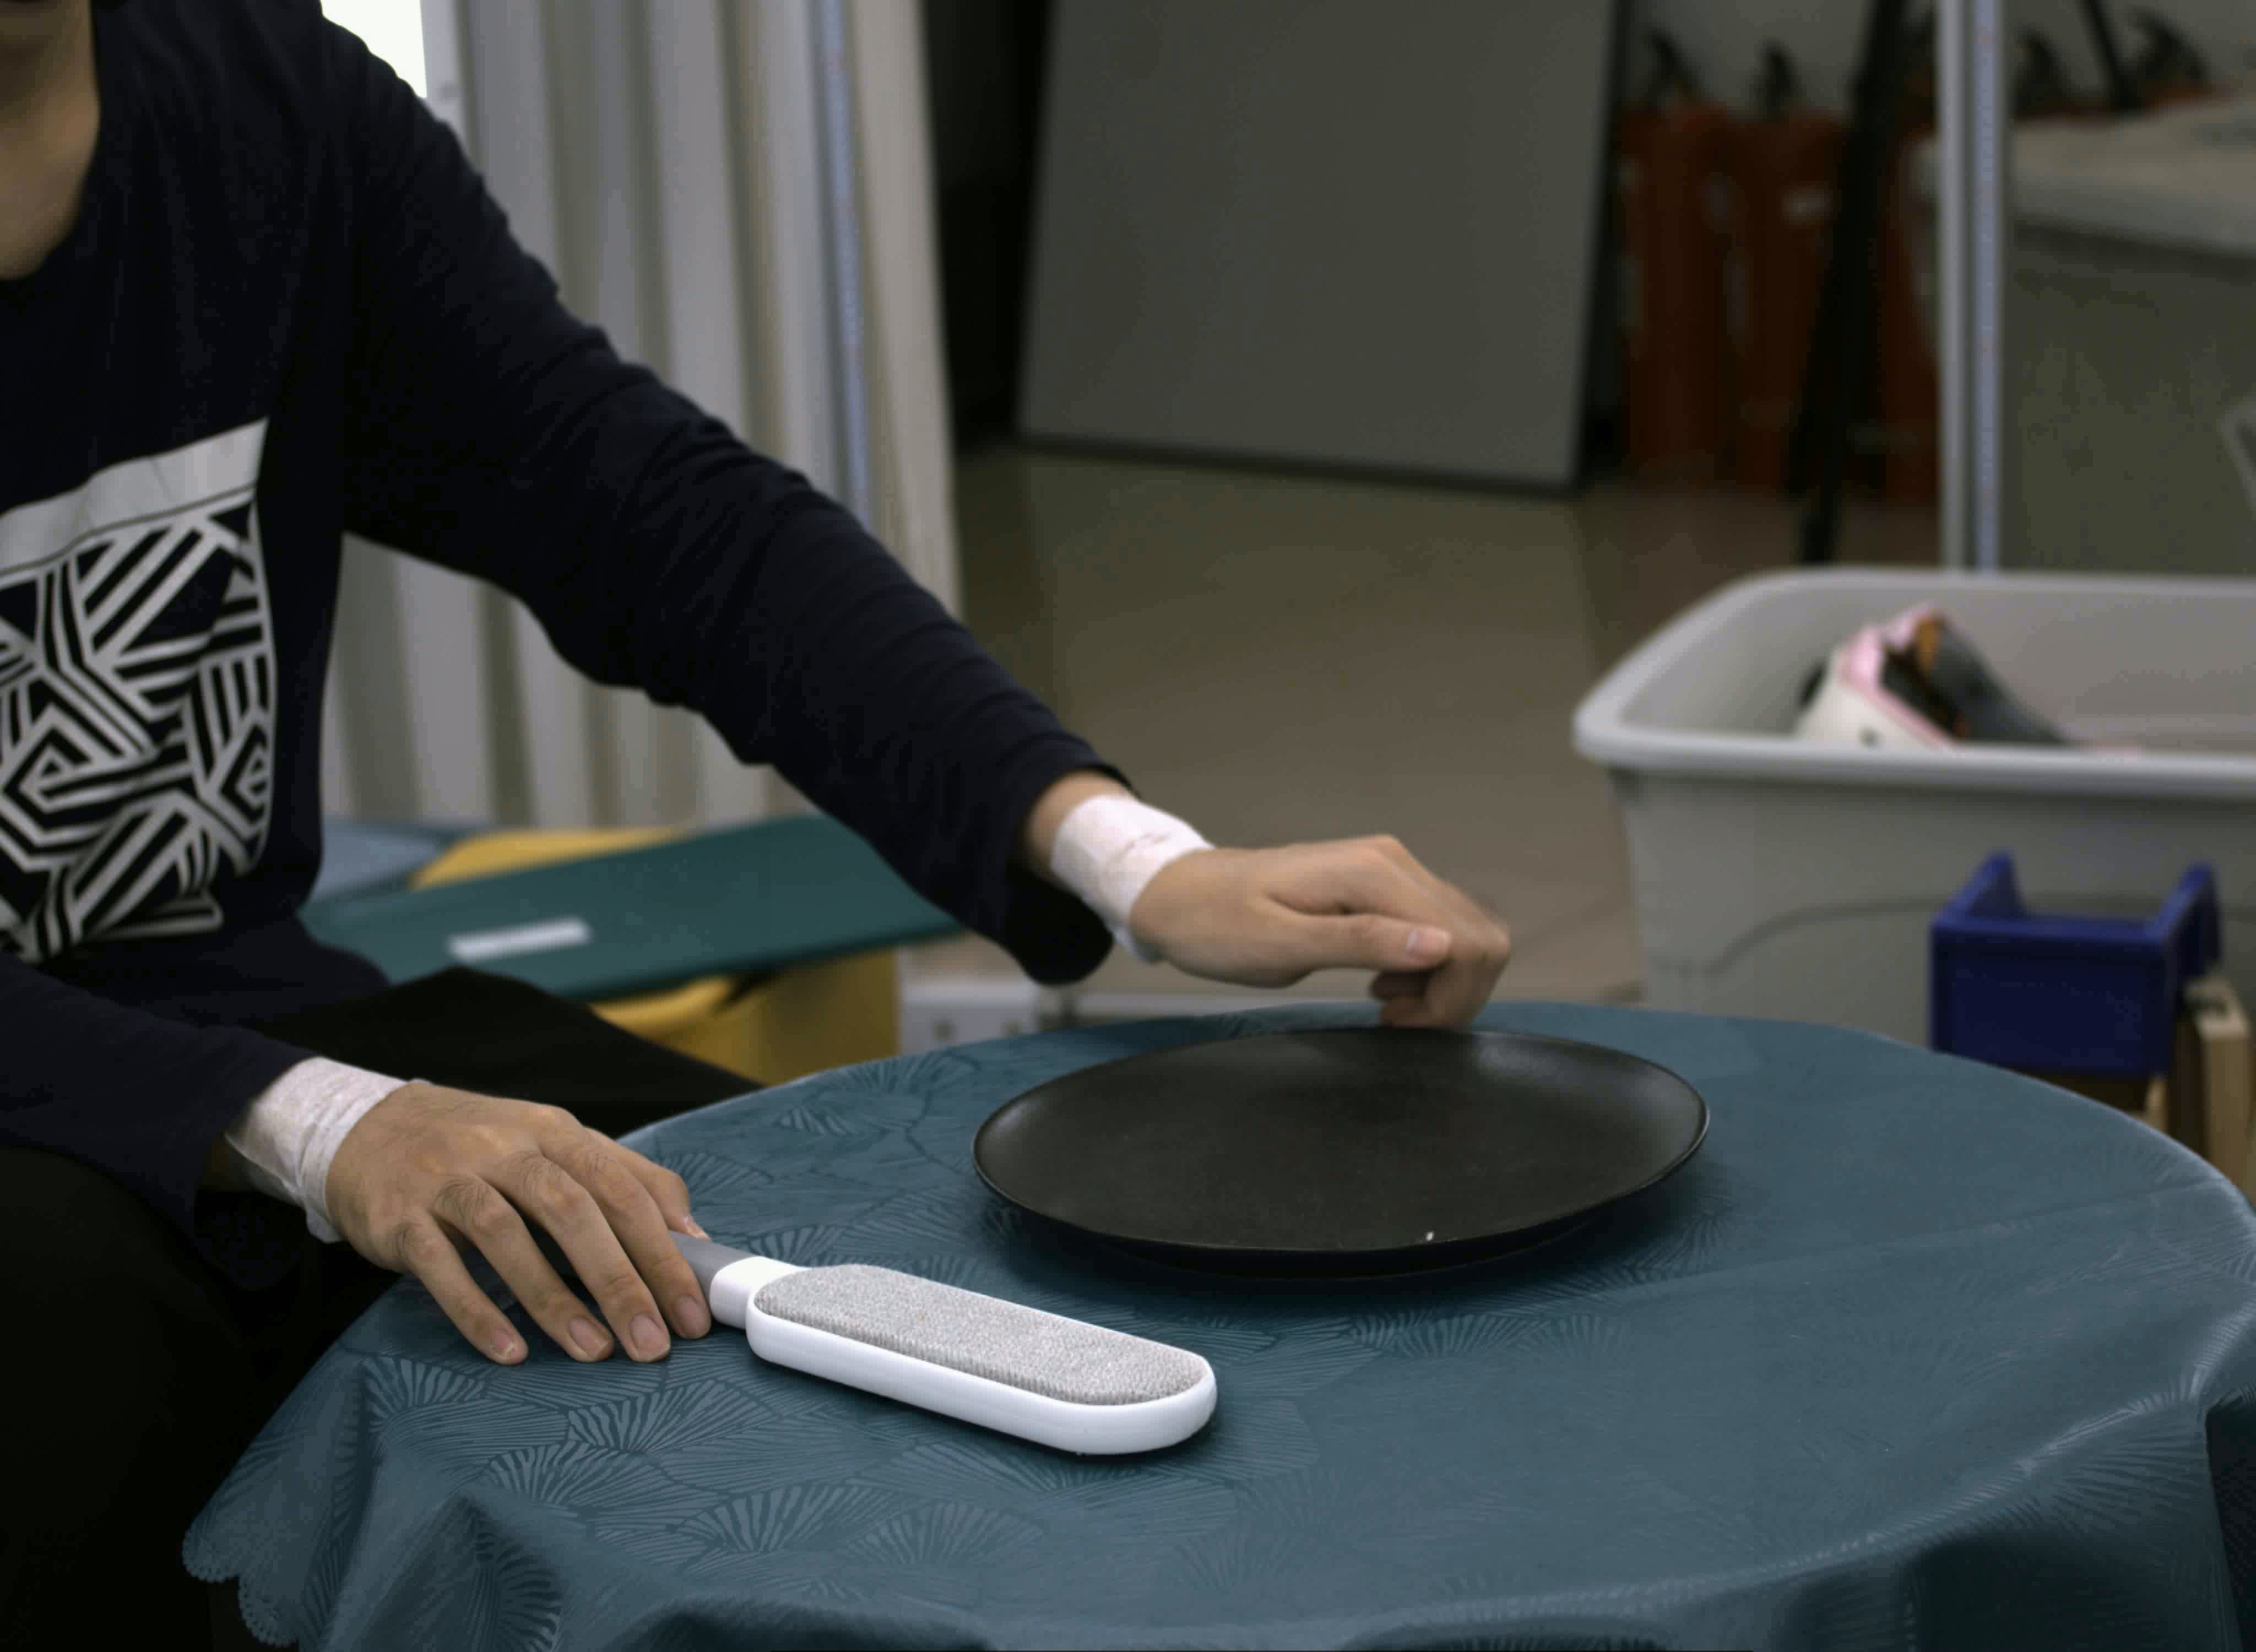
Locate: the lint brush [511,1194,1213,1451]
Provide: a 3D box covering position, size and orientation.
[{"bbox_3d":[-0.088,0.147,1.639,0.059,0.021,0.312,-22,22,-39],"label":"lint brush"}]

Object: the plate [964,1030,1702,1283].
[{"bbox_3d":[0.067,0.110,1.754,0.241,0.024,0.245,-4,13,0],"label":"plate"}]
